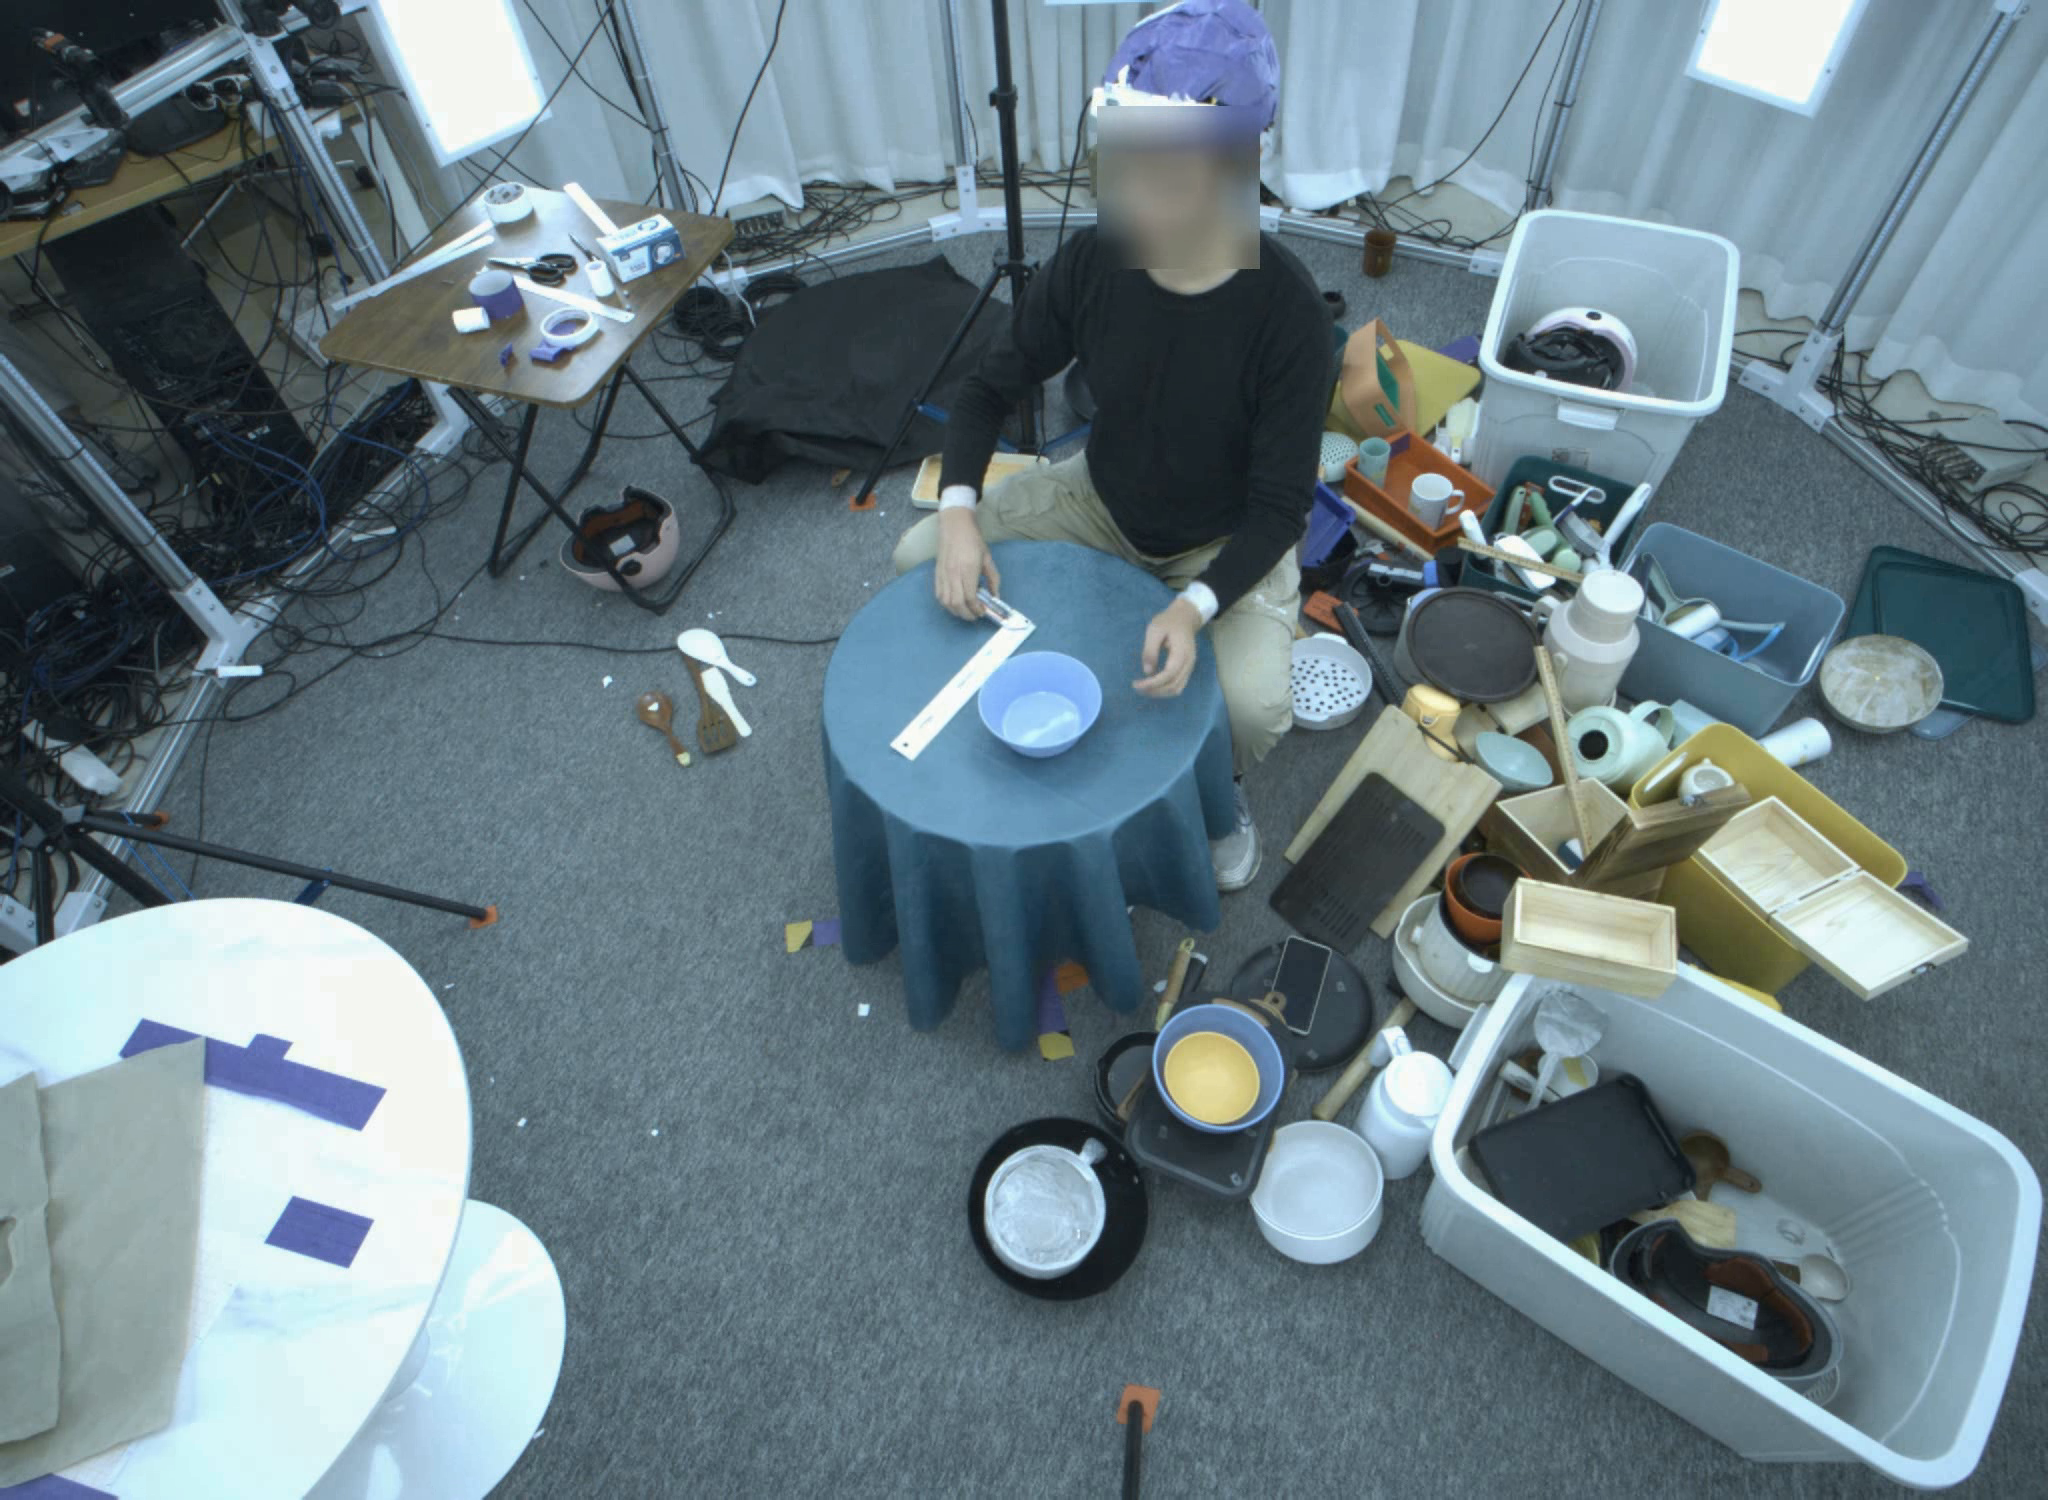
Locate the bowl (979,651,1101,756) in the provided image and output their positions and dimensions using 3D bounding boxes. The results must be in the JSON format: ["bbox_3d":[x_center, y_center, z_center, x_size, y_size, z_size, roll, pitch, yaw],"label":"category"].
[{"bbox_3d":[0.025,-0.057,1.784,0.176,0.071,0.174,-1,55,2],"label":"bowl"}]

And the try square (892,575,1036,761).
[{"bbox_3d":[-0.131,-0.131,1.866,0.151,0.016,0.314,34,63,12],"label":"try square"}]
